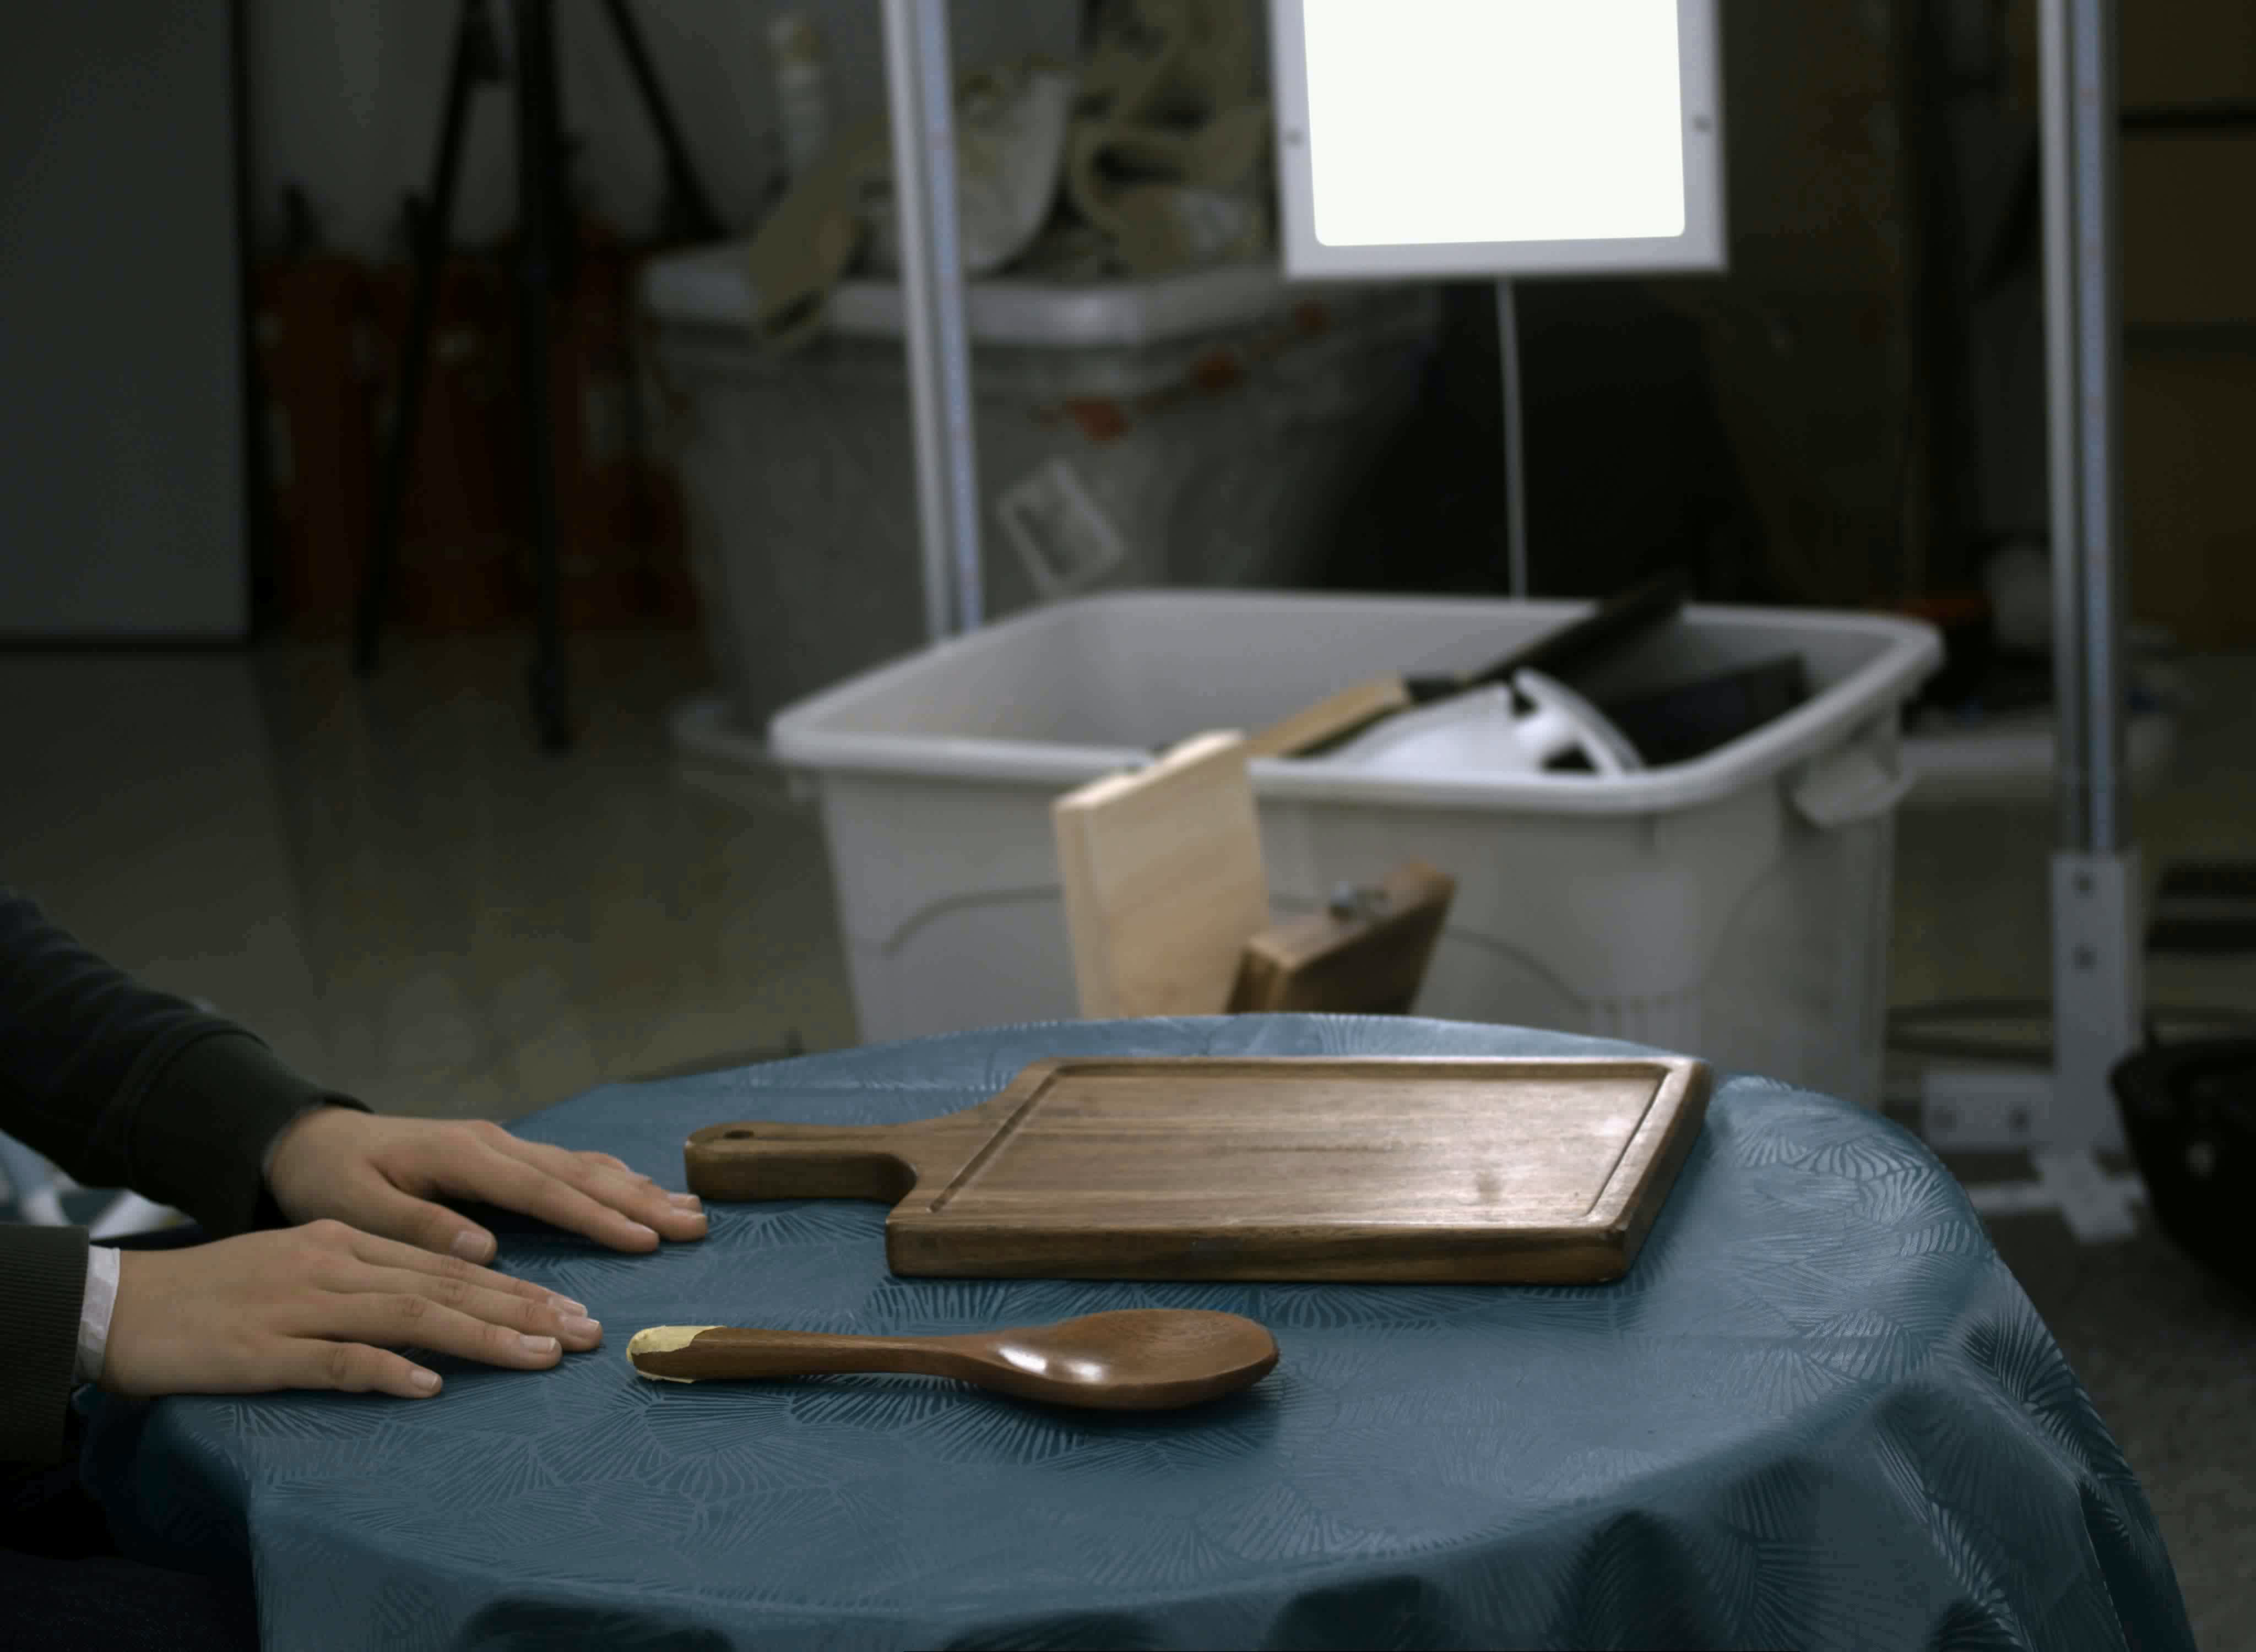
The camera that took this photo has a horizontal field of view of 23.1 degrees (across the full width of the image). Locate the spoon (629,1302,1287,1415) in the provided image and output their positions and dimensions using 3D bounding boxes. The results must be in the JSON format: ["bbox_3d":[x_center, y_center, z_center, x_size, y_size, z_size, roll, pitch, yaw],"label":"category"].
[{"bbox_3d":[-0.054,0.165,1.720,0.218,0.017,0.074,1,17,20],"label":"spoon"}]

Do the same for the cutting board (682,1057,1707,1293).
[{"bbox_3d":[0.015,0.117,1.894,0.356,0.023,0.198,-1,15,17],"label":"cutting board"}]
